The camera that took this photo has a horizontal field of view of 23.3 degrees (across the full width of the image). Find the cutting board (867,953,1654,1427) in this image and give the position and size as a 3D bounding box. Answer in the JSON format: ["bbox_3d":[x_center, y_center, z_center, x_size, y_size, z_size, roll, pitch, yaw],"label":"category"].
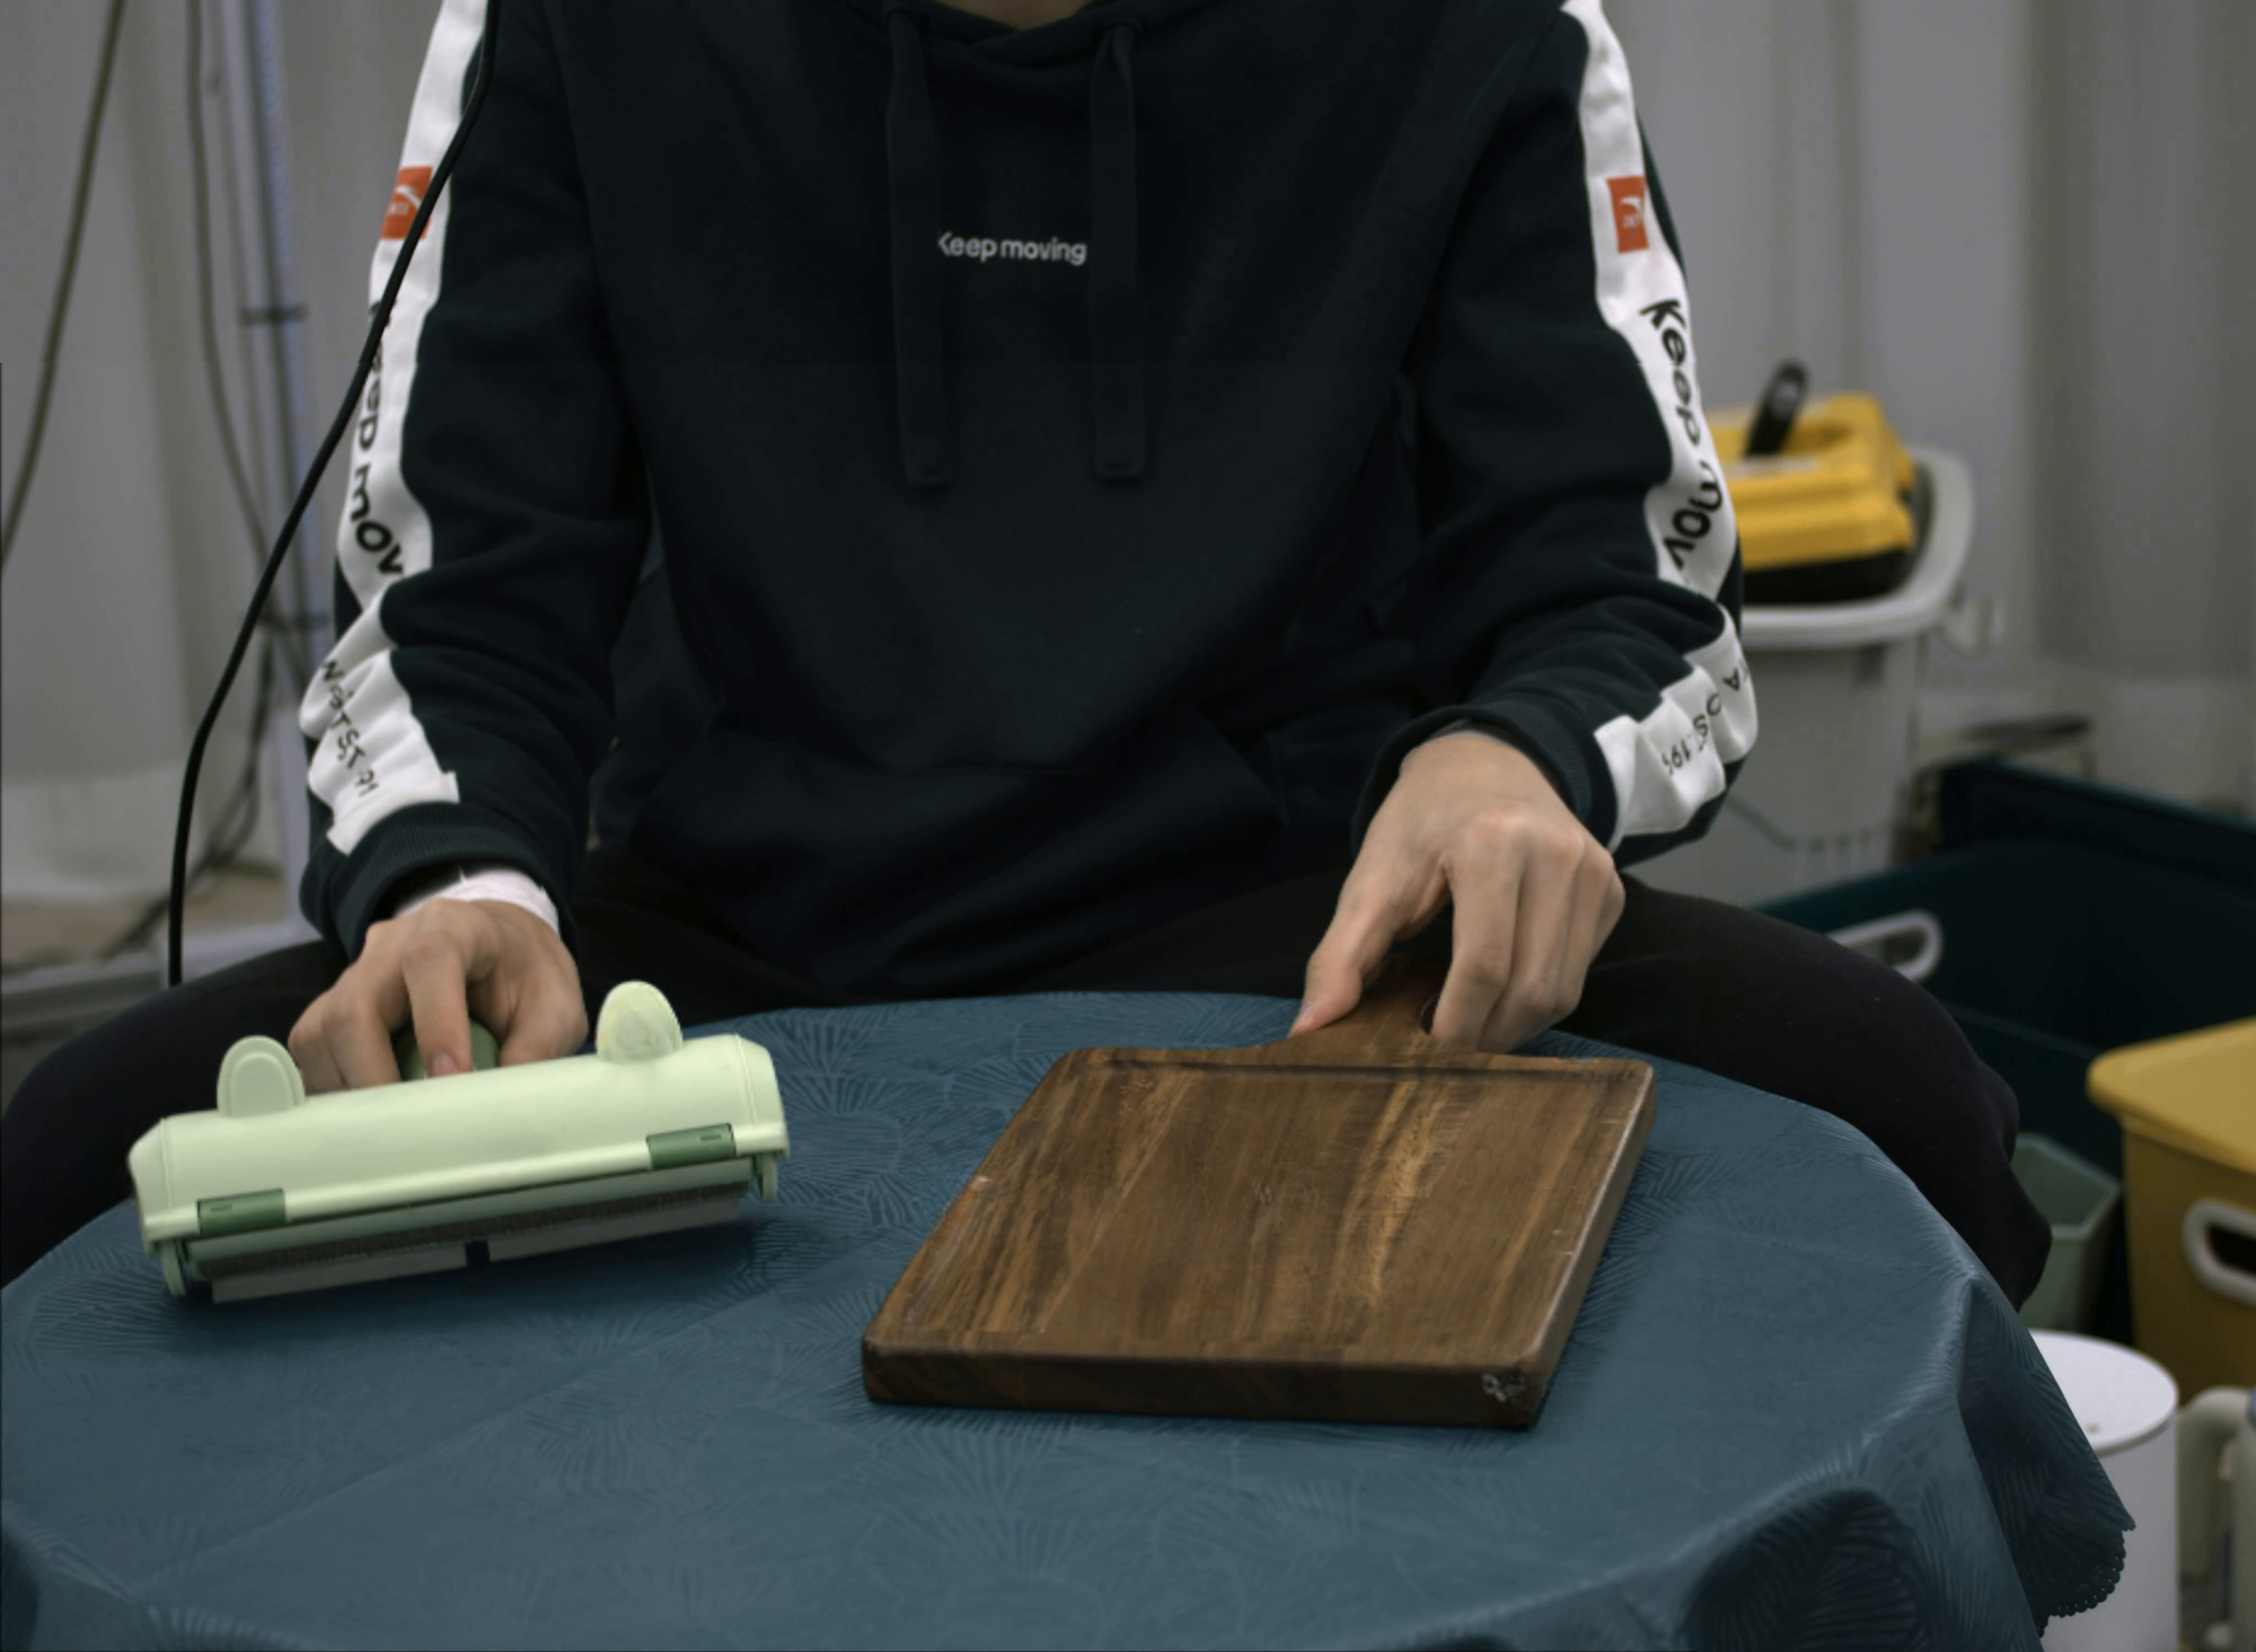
[{"bbox_3d":[0.056,0.104,1.679,0.201,0.023,0.354,0,17,13],"label":"cutting board"}]

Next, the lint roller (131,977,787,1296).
[{"bbox_3d":[-0.214,0.074,1.718,0.198,0.081,0.185,-8,24,-8],"label":"lint roller"}]
